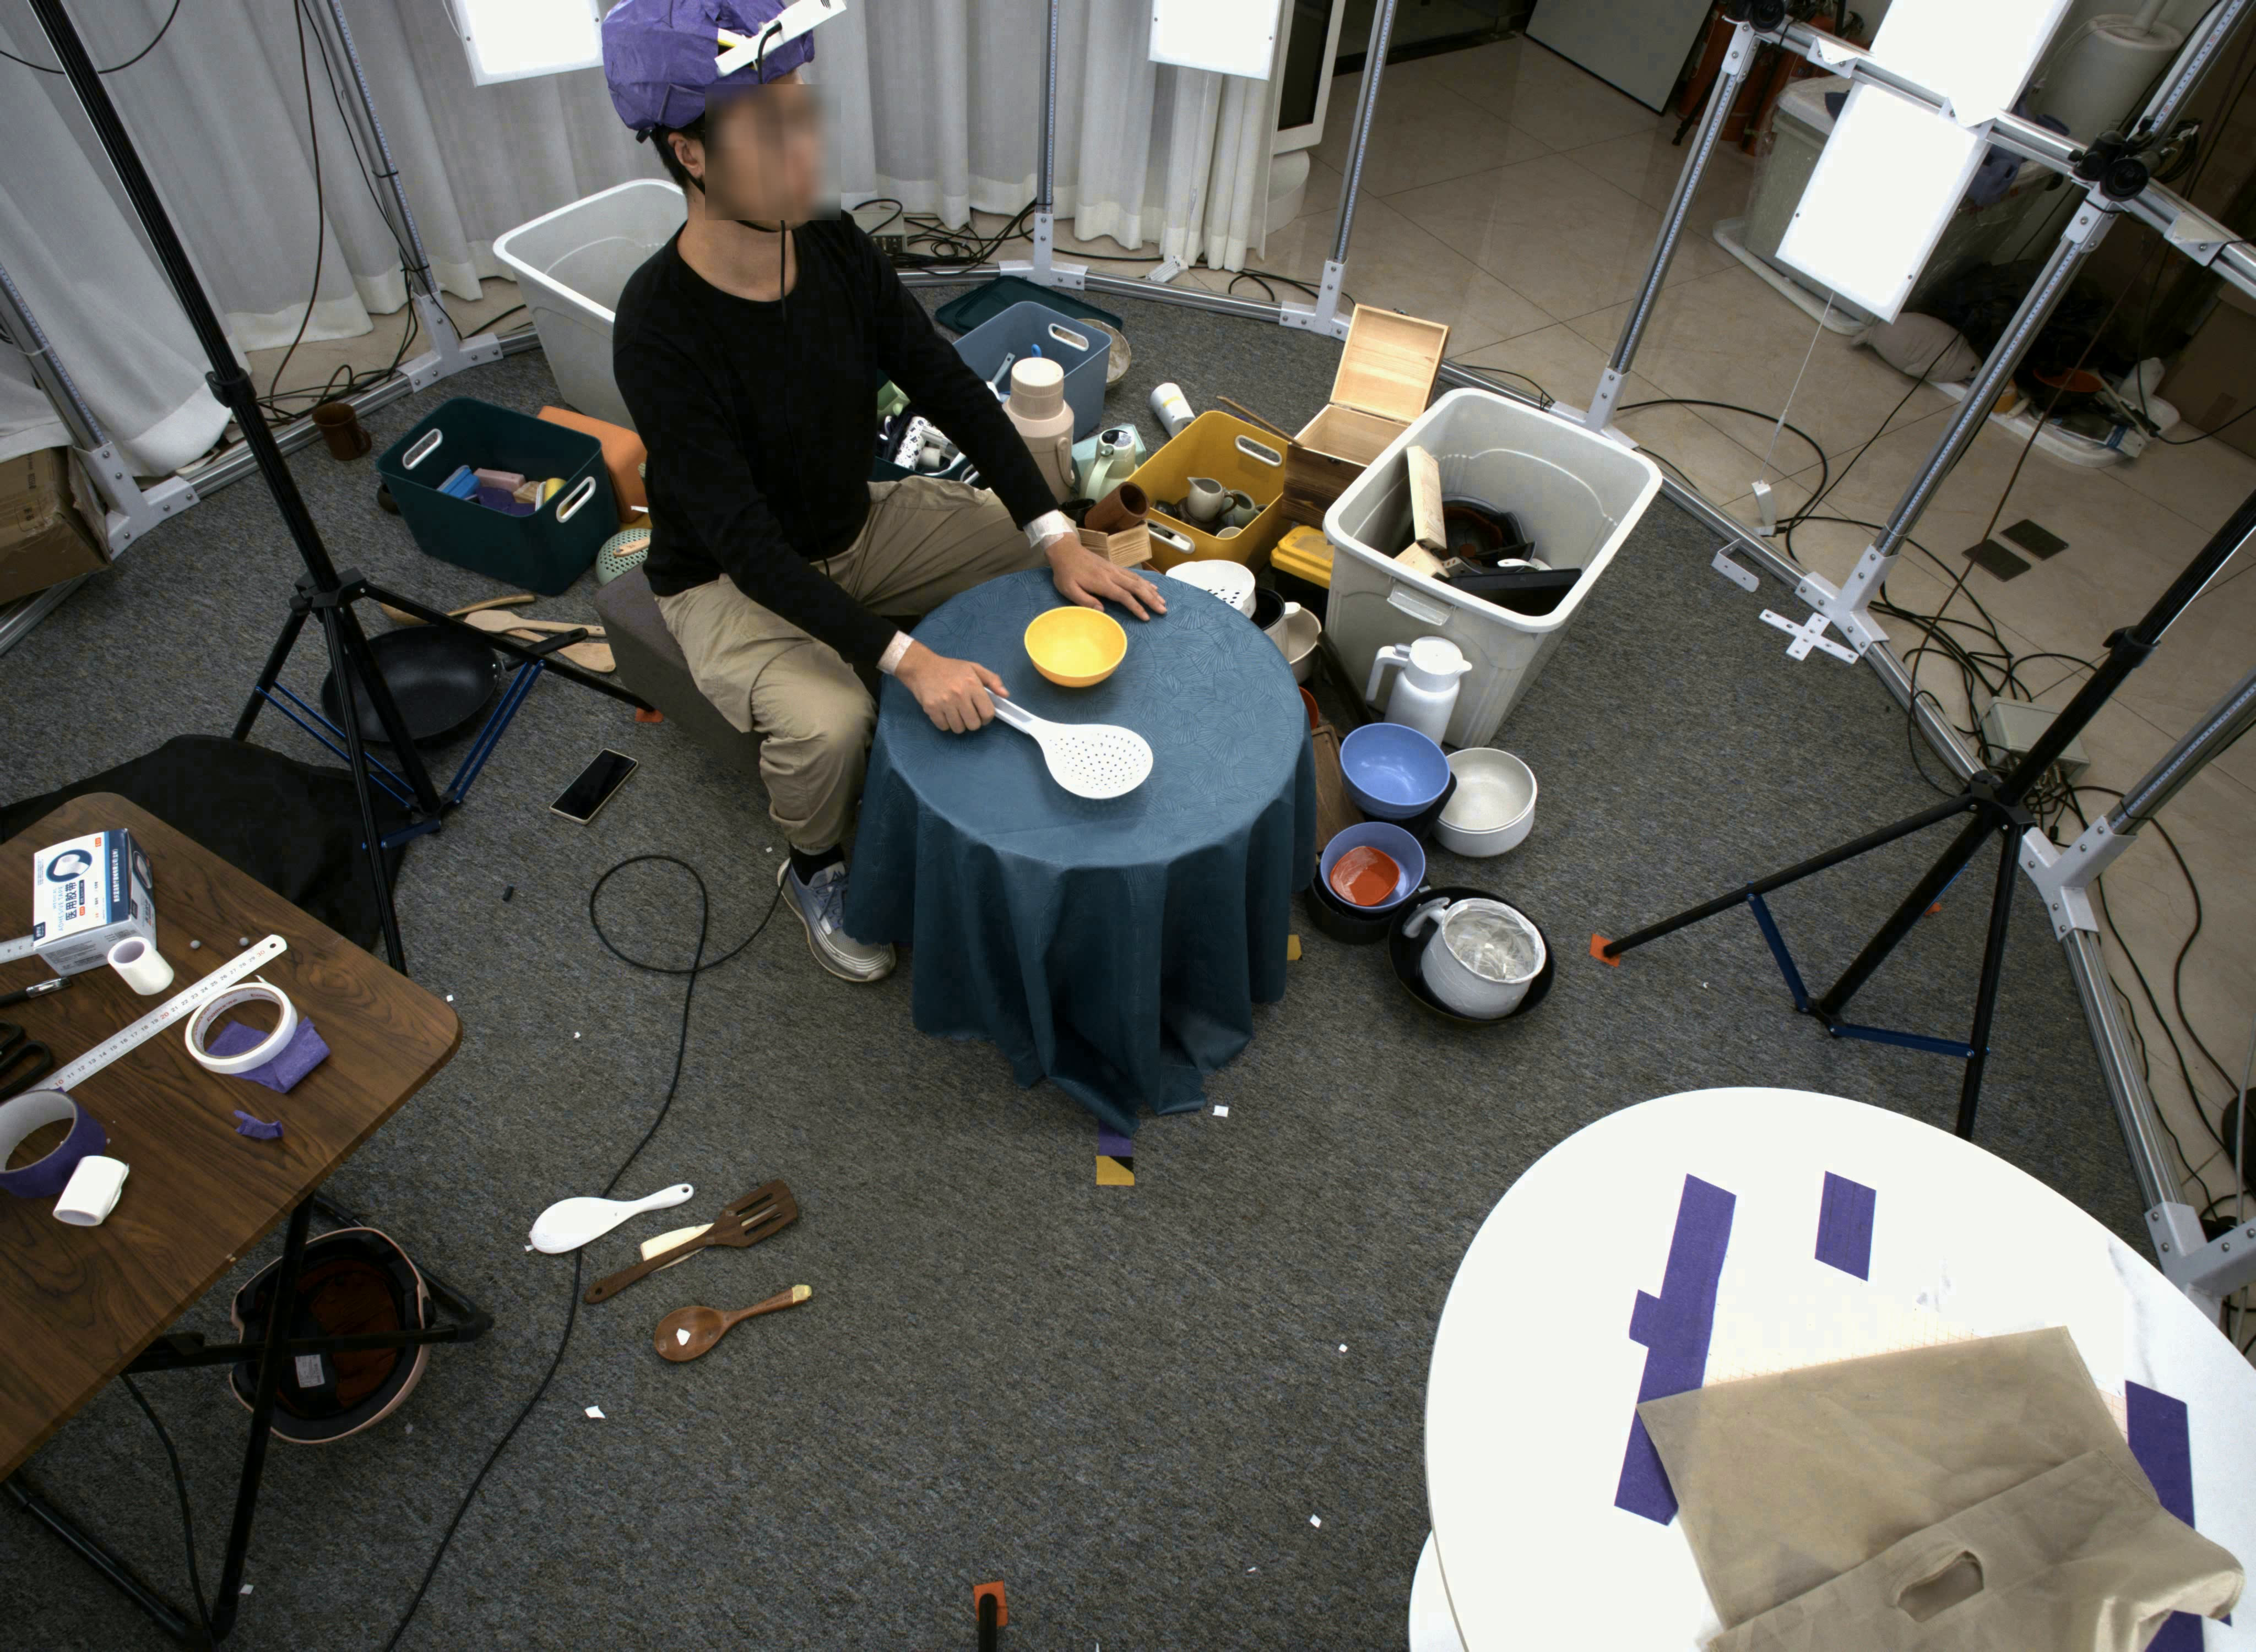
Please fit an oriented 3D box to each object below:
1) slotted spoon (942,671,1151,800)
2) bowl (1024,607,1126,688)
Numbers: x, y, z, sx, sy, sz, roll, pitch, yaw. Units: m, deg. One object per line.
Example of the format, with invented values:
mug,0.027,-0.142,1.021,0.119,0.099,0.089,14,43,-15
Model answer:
slotted spoon,-0.121,-0.131,1.746,0.354,0.044,0.137,33,56,24
bowl,-0.078,-0.245,1.841,0.145,0.059,0.149,3,50,-4
